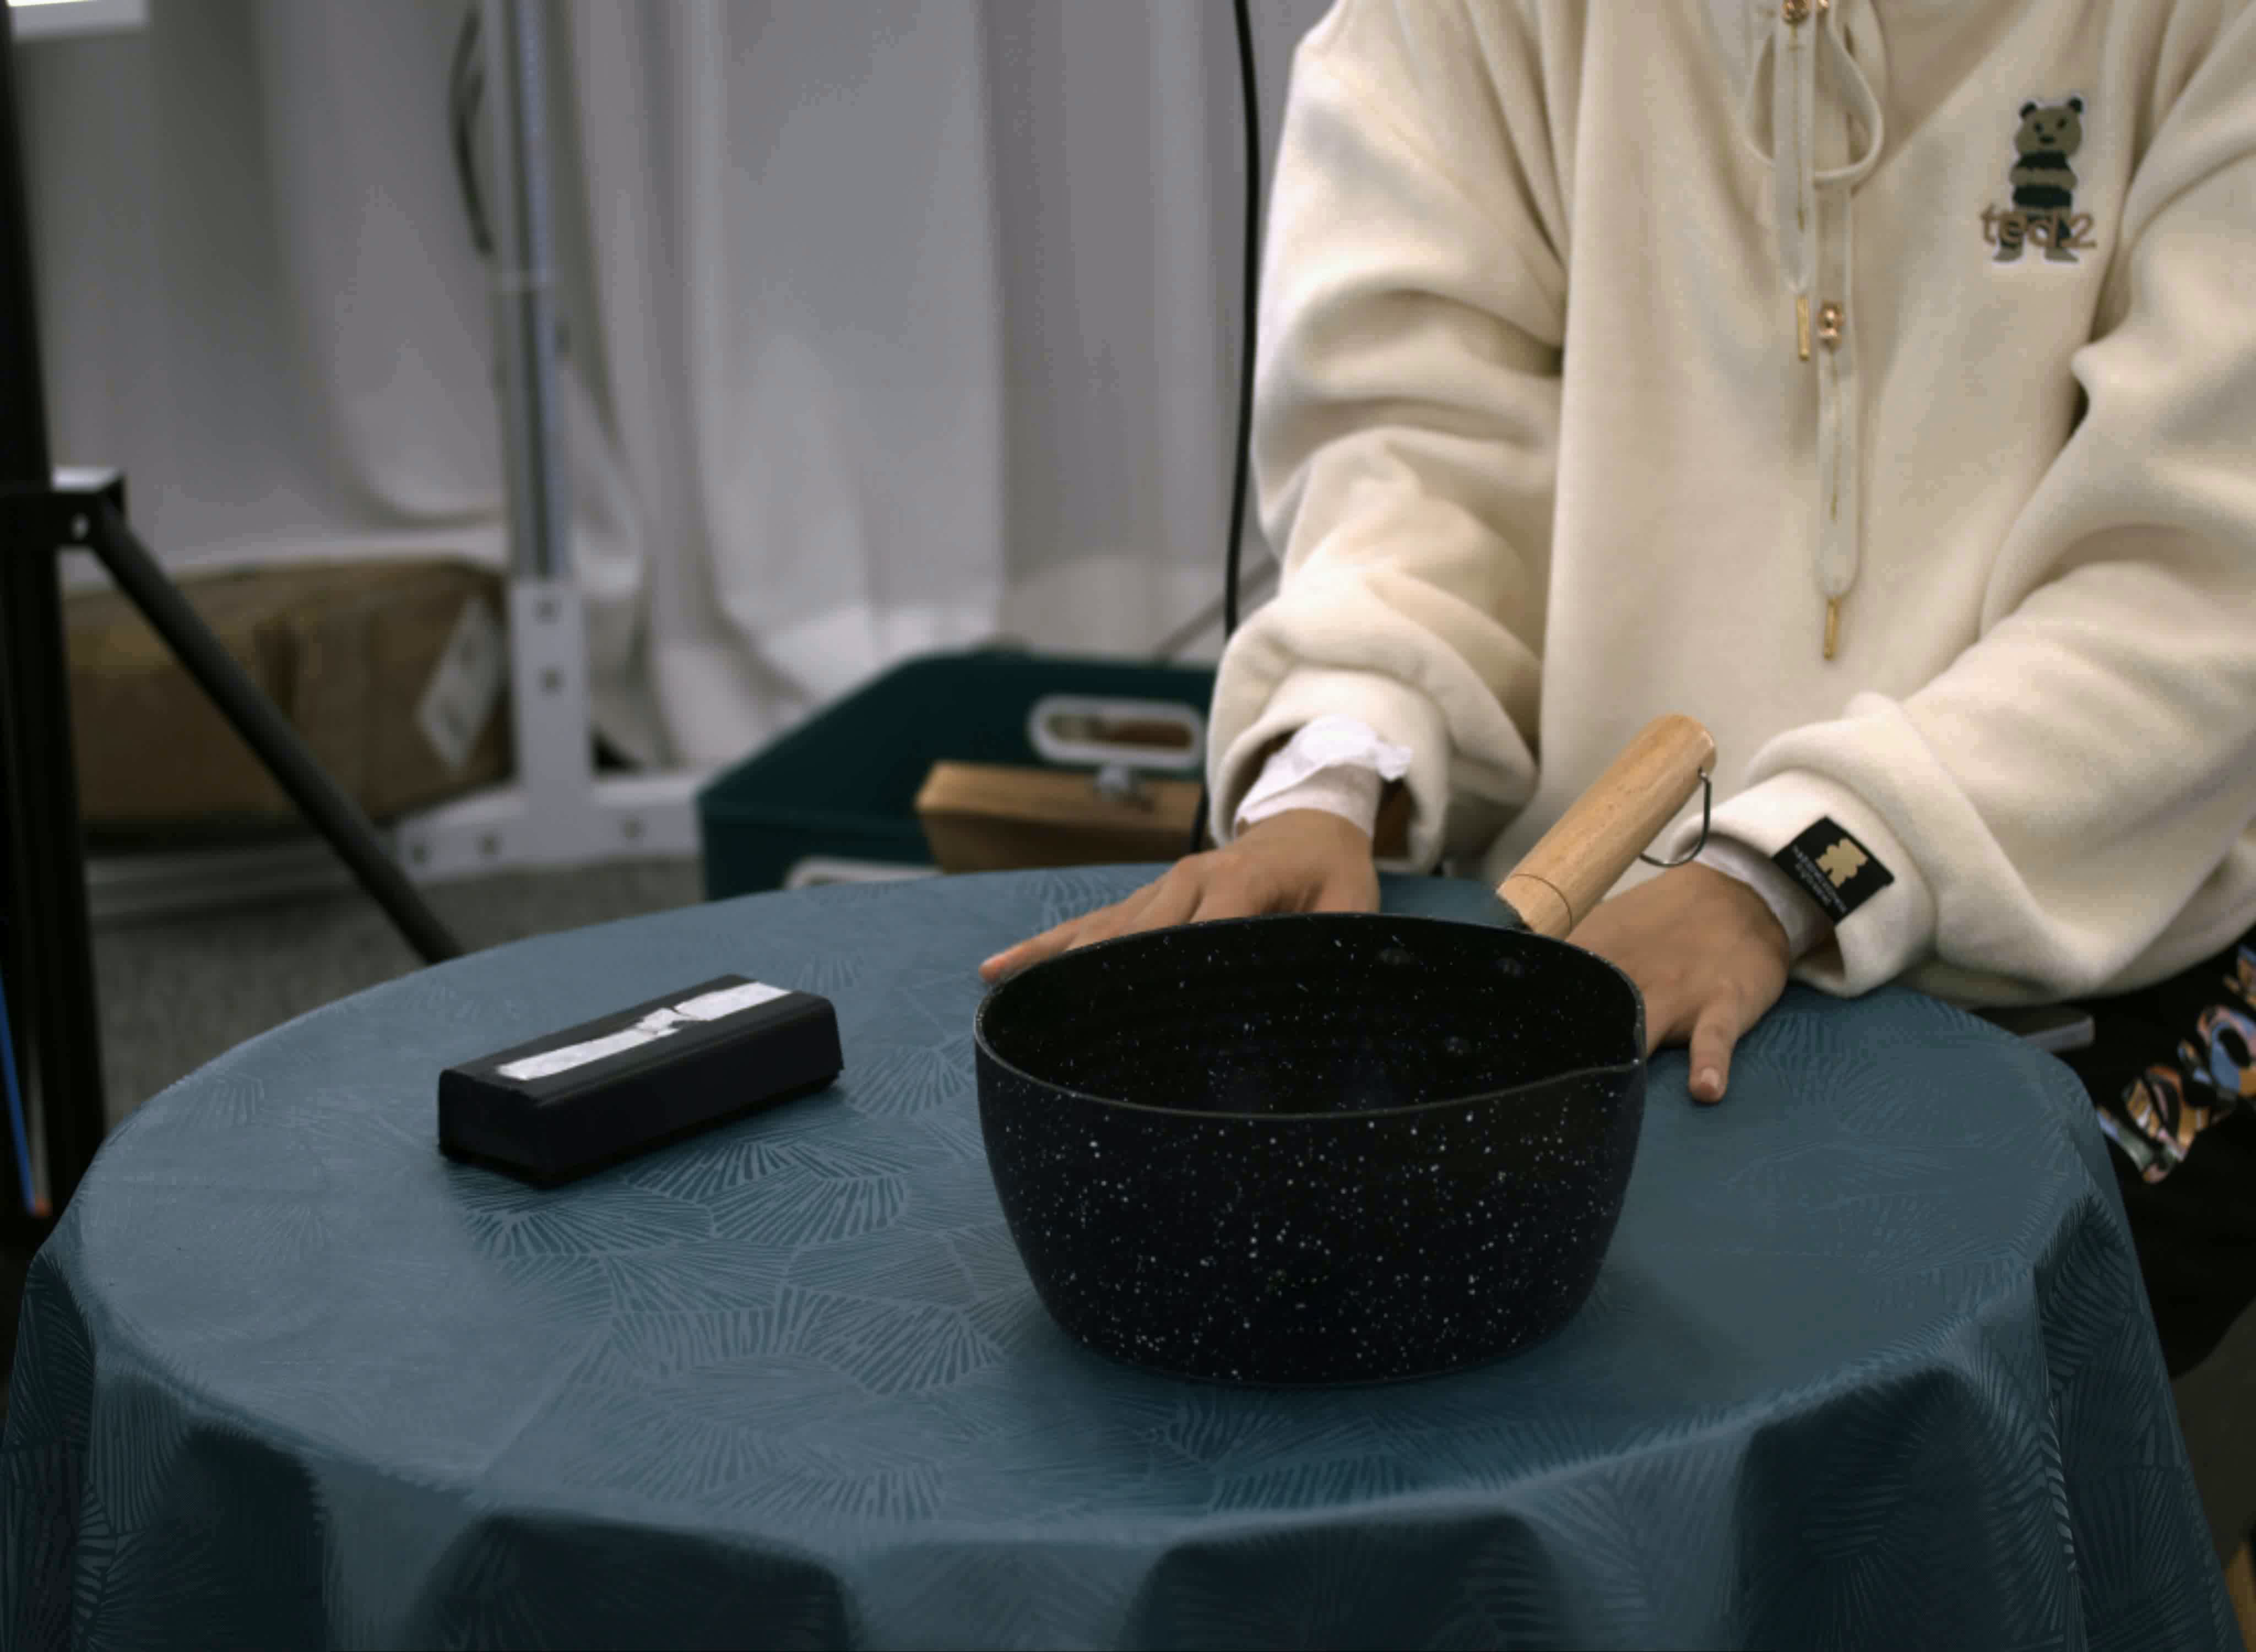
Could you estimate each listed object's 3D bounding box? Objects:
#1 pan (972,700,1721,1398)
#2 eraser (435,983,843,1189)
[{"bbox_3d":[0.089,0.059,1.519,0.211,0.108,0.337,5,19,30],"label":"pan"},{"bbox_3d":[-0.149,0.079,1.636,0.055,0.030,0.122,13,21,43],"label":"eraser"}]
